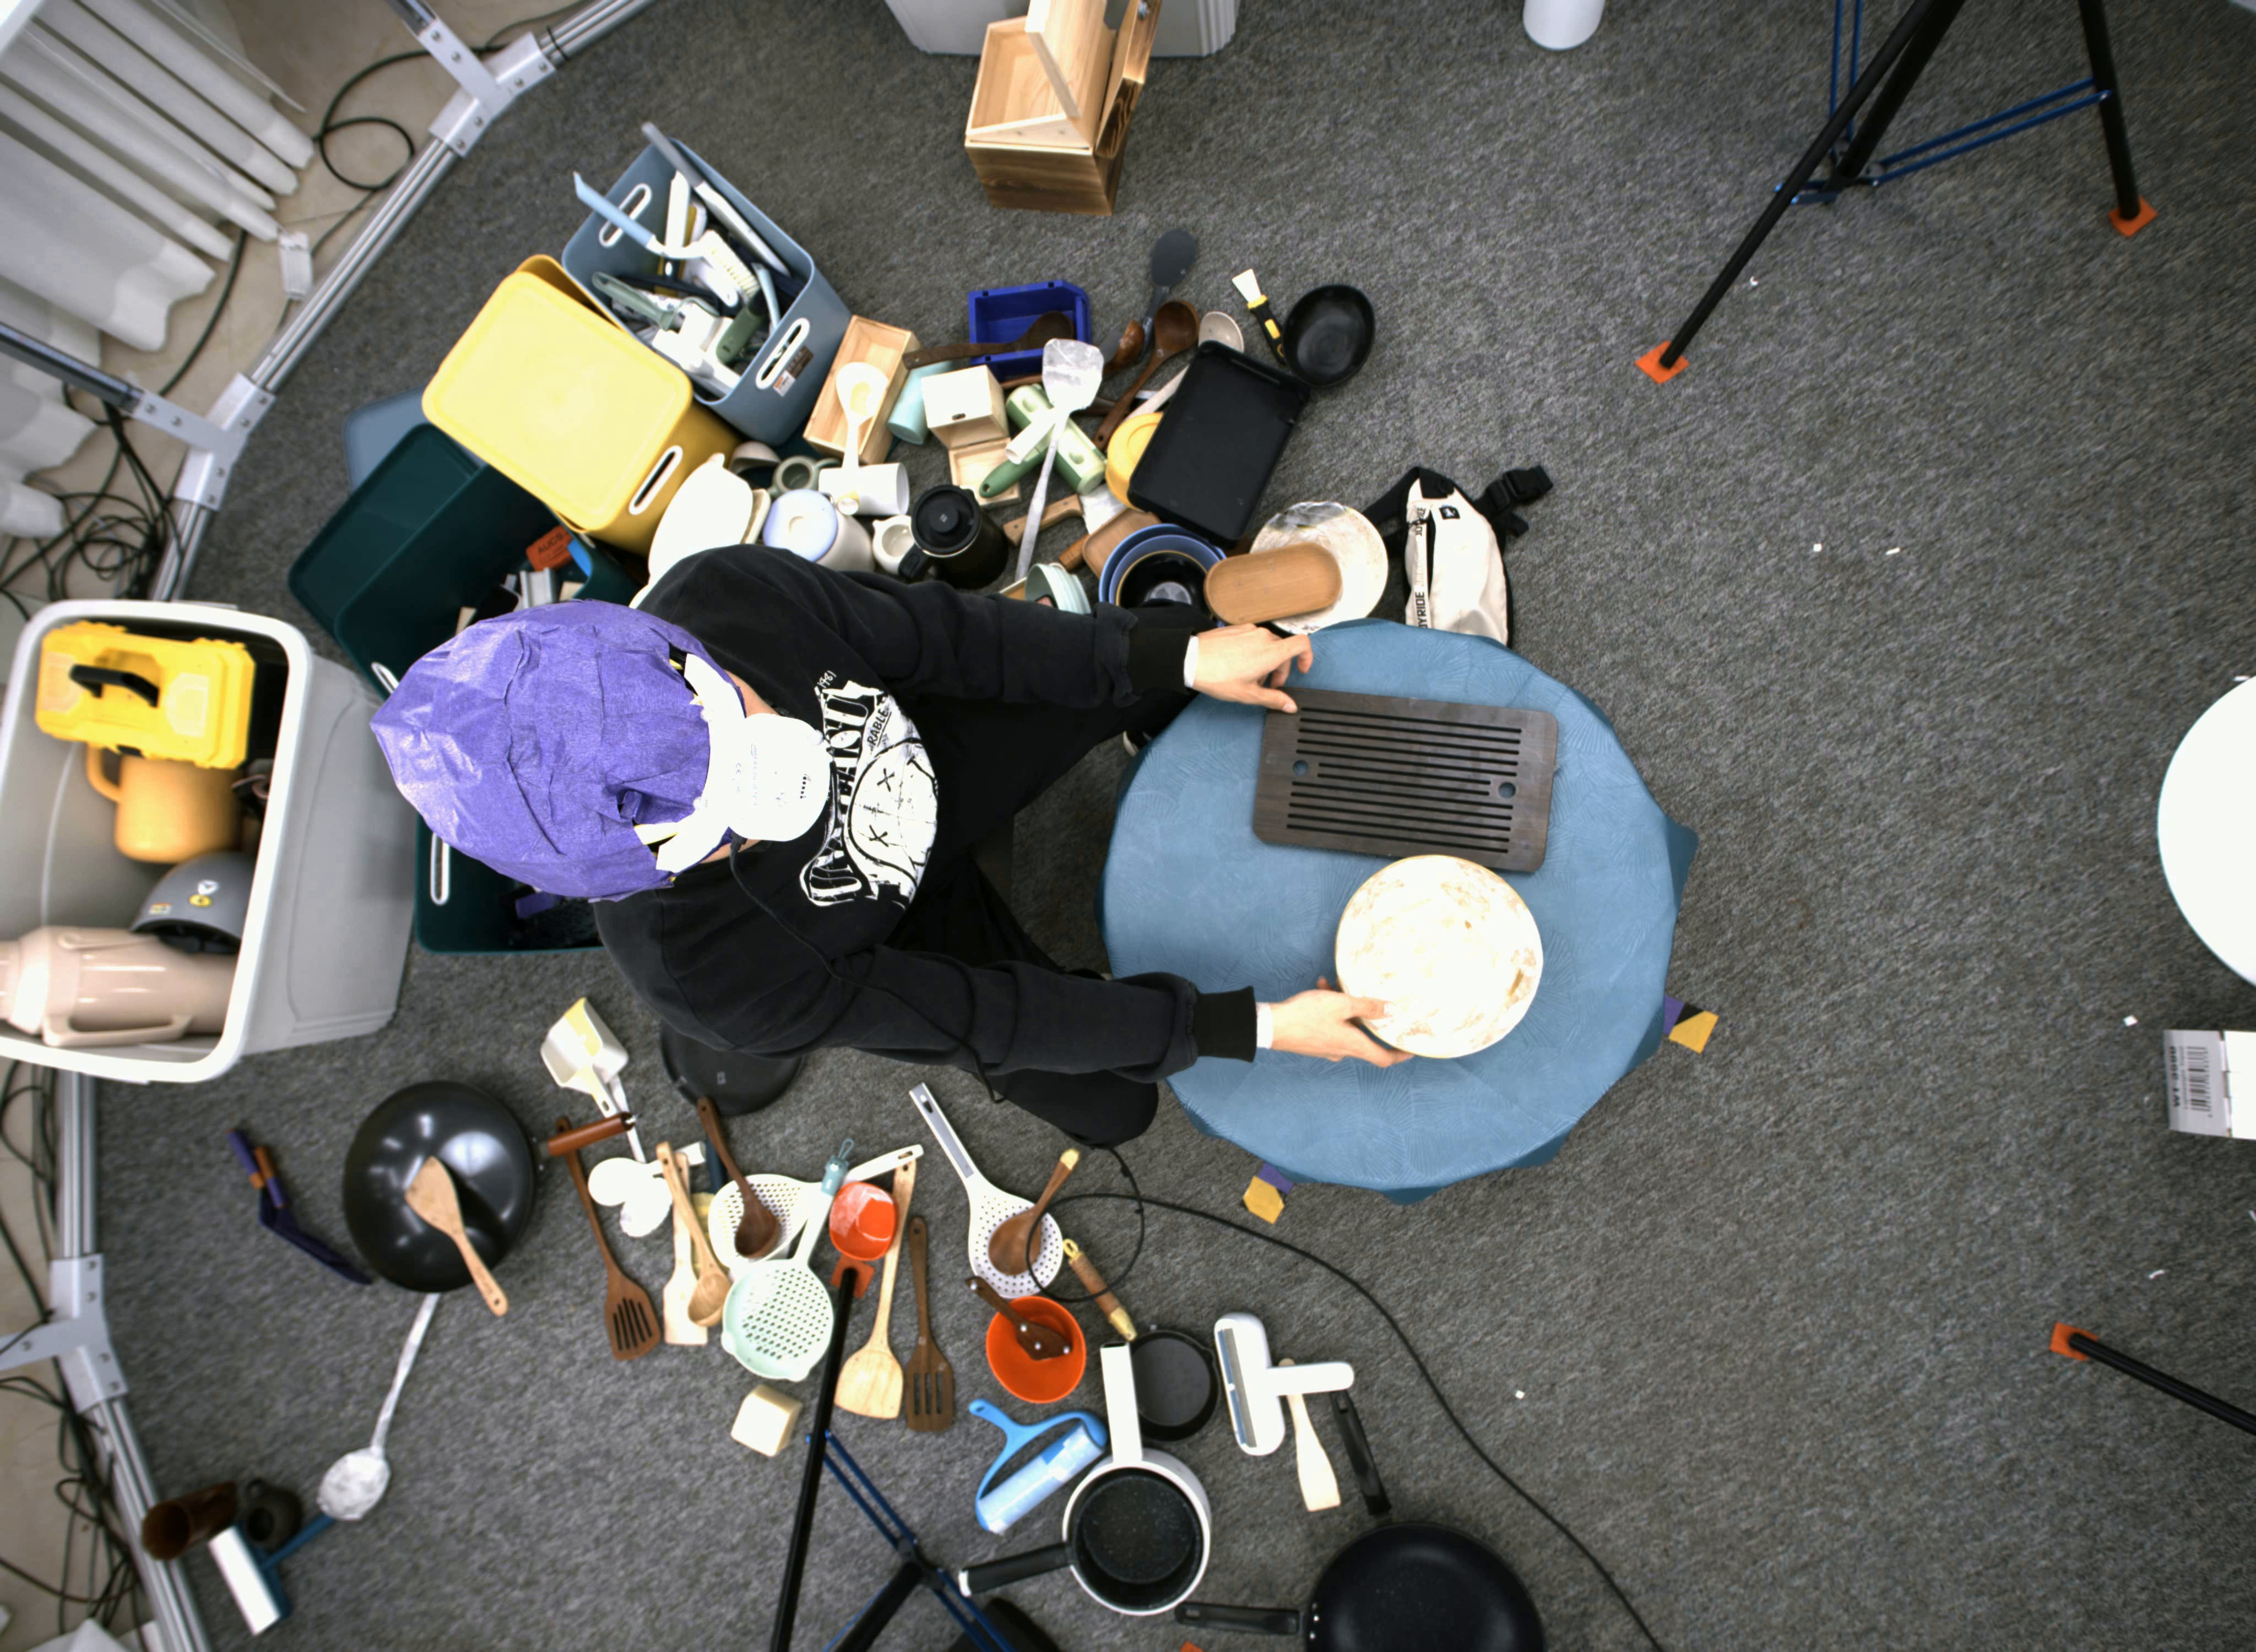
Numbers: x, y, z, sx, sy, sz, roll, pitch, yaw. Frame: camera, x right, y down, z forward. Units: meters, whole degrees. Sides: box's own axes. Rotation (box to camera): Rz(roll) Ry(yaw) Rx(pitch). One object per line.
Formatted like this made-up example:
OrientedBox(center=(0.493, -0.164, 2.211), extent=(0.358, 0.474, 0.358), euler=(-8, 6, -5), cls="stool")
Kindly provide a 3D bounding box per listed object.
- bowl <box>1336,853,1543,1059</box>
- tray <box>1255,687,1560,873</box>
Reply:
OrientedBox(center=(0.312, 0.129, 1.406), extent=(0.215, 0.094, 0.214), euler=(-1, 86, 10), cls="bowl")
OrientedBox(center=(0.295, -0.051, 1.460), extent=(0.307, 0.018, 0.169), euler=(7, 87, 11), cls="tray")
